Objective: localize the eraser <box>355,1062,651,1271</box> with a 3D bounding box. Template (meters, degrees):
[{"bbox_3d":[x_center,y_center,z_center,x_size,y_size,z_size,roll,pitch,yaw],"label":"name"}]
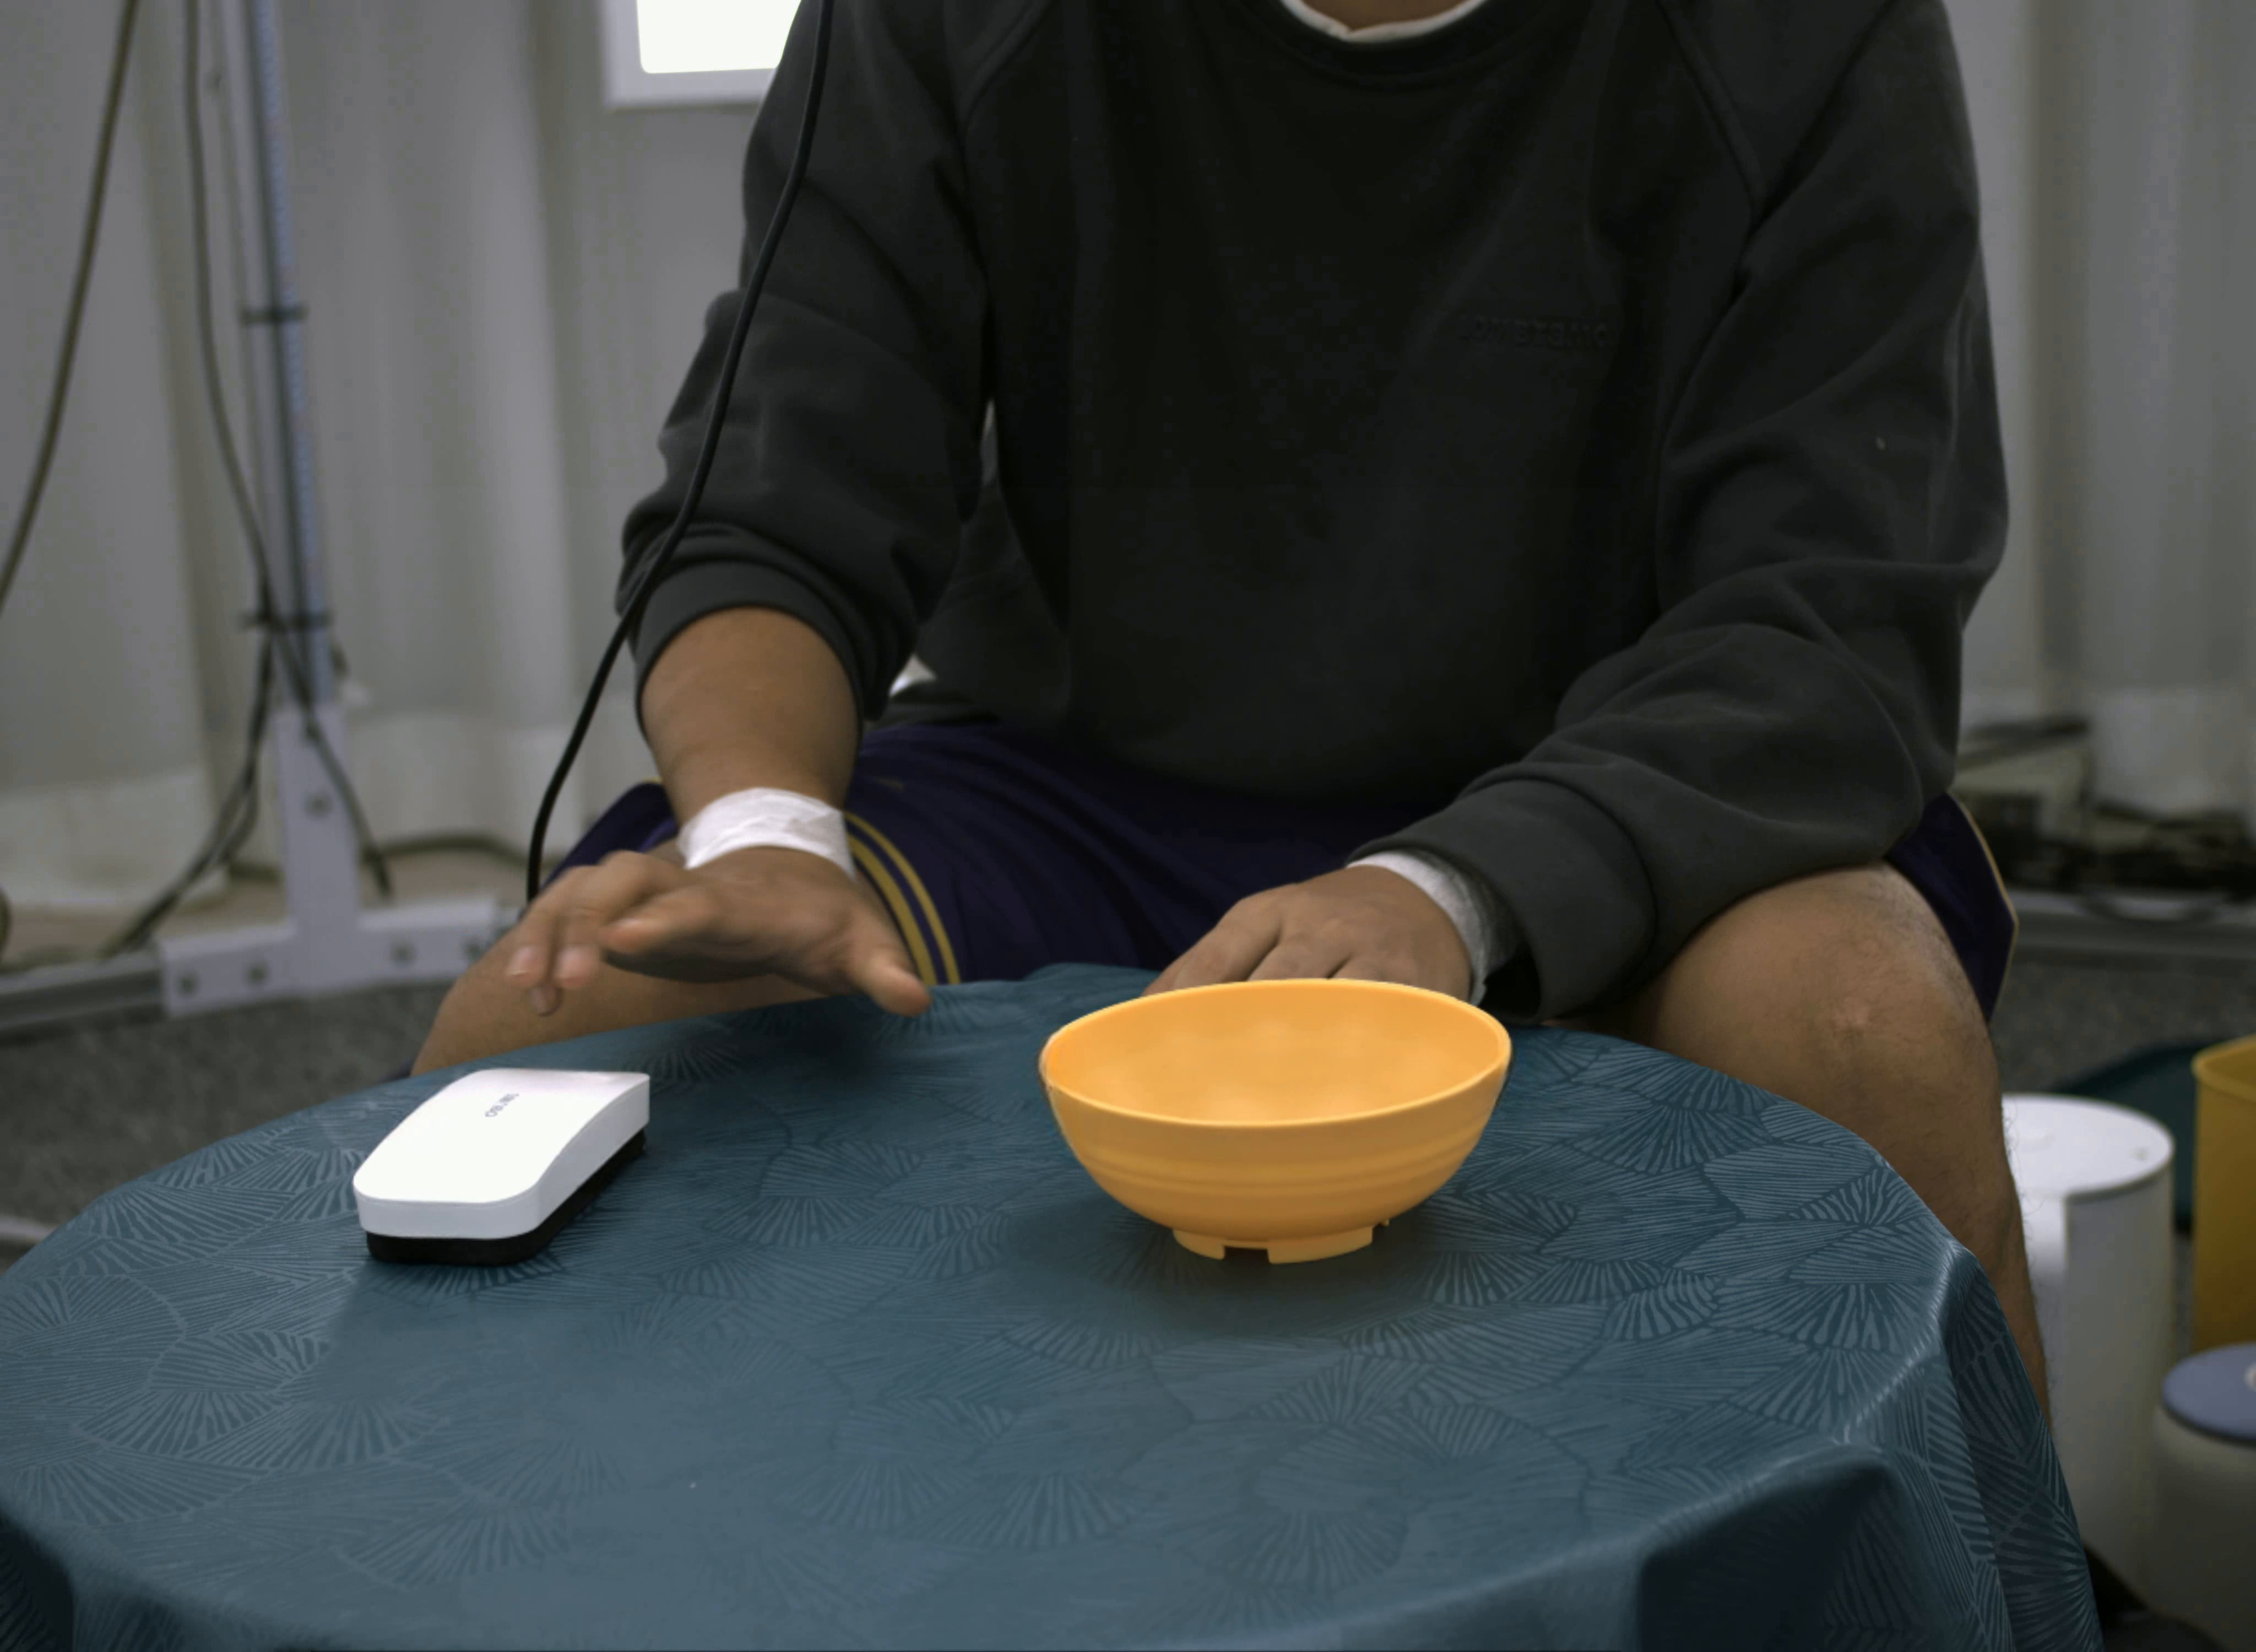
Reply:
[{"bbox_3d":[-0.195,0.104,1.734,0.063,0.034,0.132,2,16,15],"label":"eraser"}]

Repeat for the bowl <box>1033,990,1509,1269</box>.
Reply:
[{"bbox_3d":[0.044,0.097,1.667,0.145,0.060,0.146,-2,13,0],"label":"bowl"}]
